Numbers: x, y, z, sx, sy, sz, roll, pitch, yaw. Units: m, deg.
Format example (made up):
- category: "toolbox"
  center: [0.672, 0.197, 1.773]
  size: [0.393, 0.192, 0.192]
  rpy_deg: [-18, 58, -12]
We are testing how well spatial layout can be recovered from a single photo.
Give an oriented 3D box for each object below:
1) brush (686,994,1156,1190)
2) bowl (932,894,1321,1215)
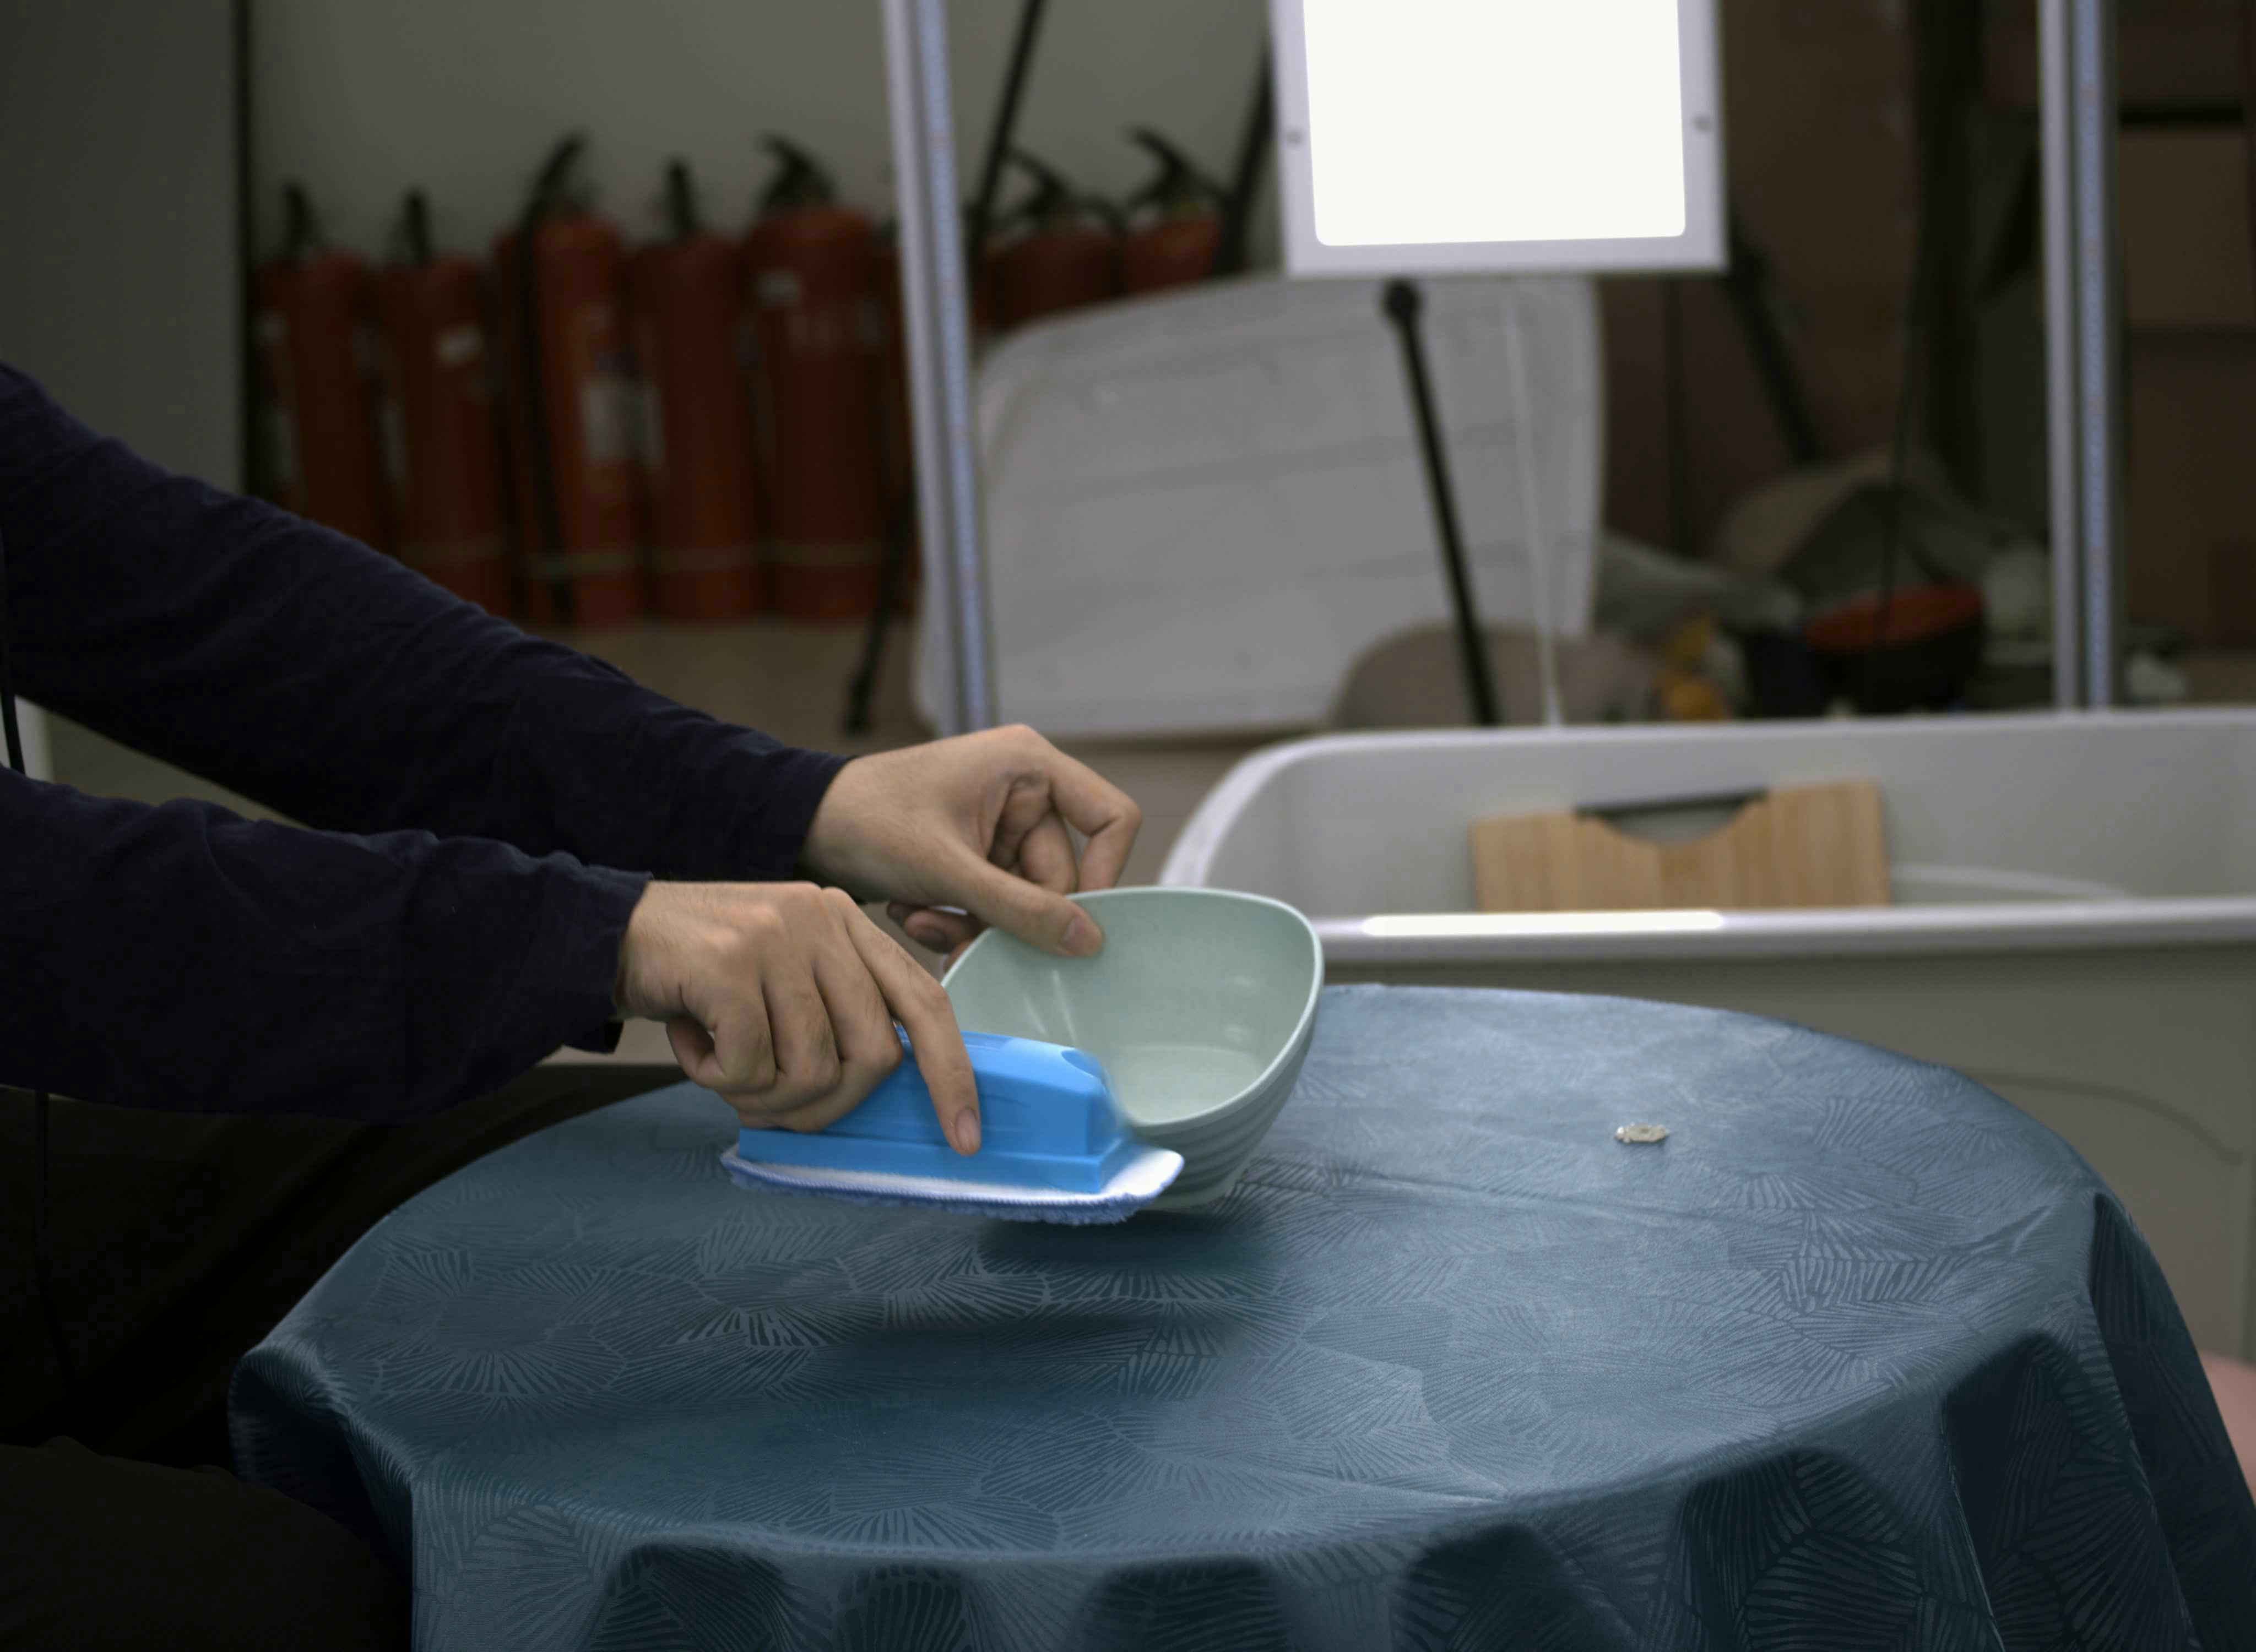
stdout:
- category: "brush"
  center: [-0.064, 0.085, 1.755]
  size: [0.145, 0.056, 0.082]
  rpy_deg: [7, 7, 18]
- category: "bowl"
  center: [0.002, 0.086, 1.897]
  size: [0.152, 0.058, 0.151]
  rpy_deg: [-11, 32, 6]
